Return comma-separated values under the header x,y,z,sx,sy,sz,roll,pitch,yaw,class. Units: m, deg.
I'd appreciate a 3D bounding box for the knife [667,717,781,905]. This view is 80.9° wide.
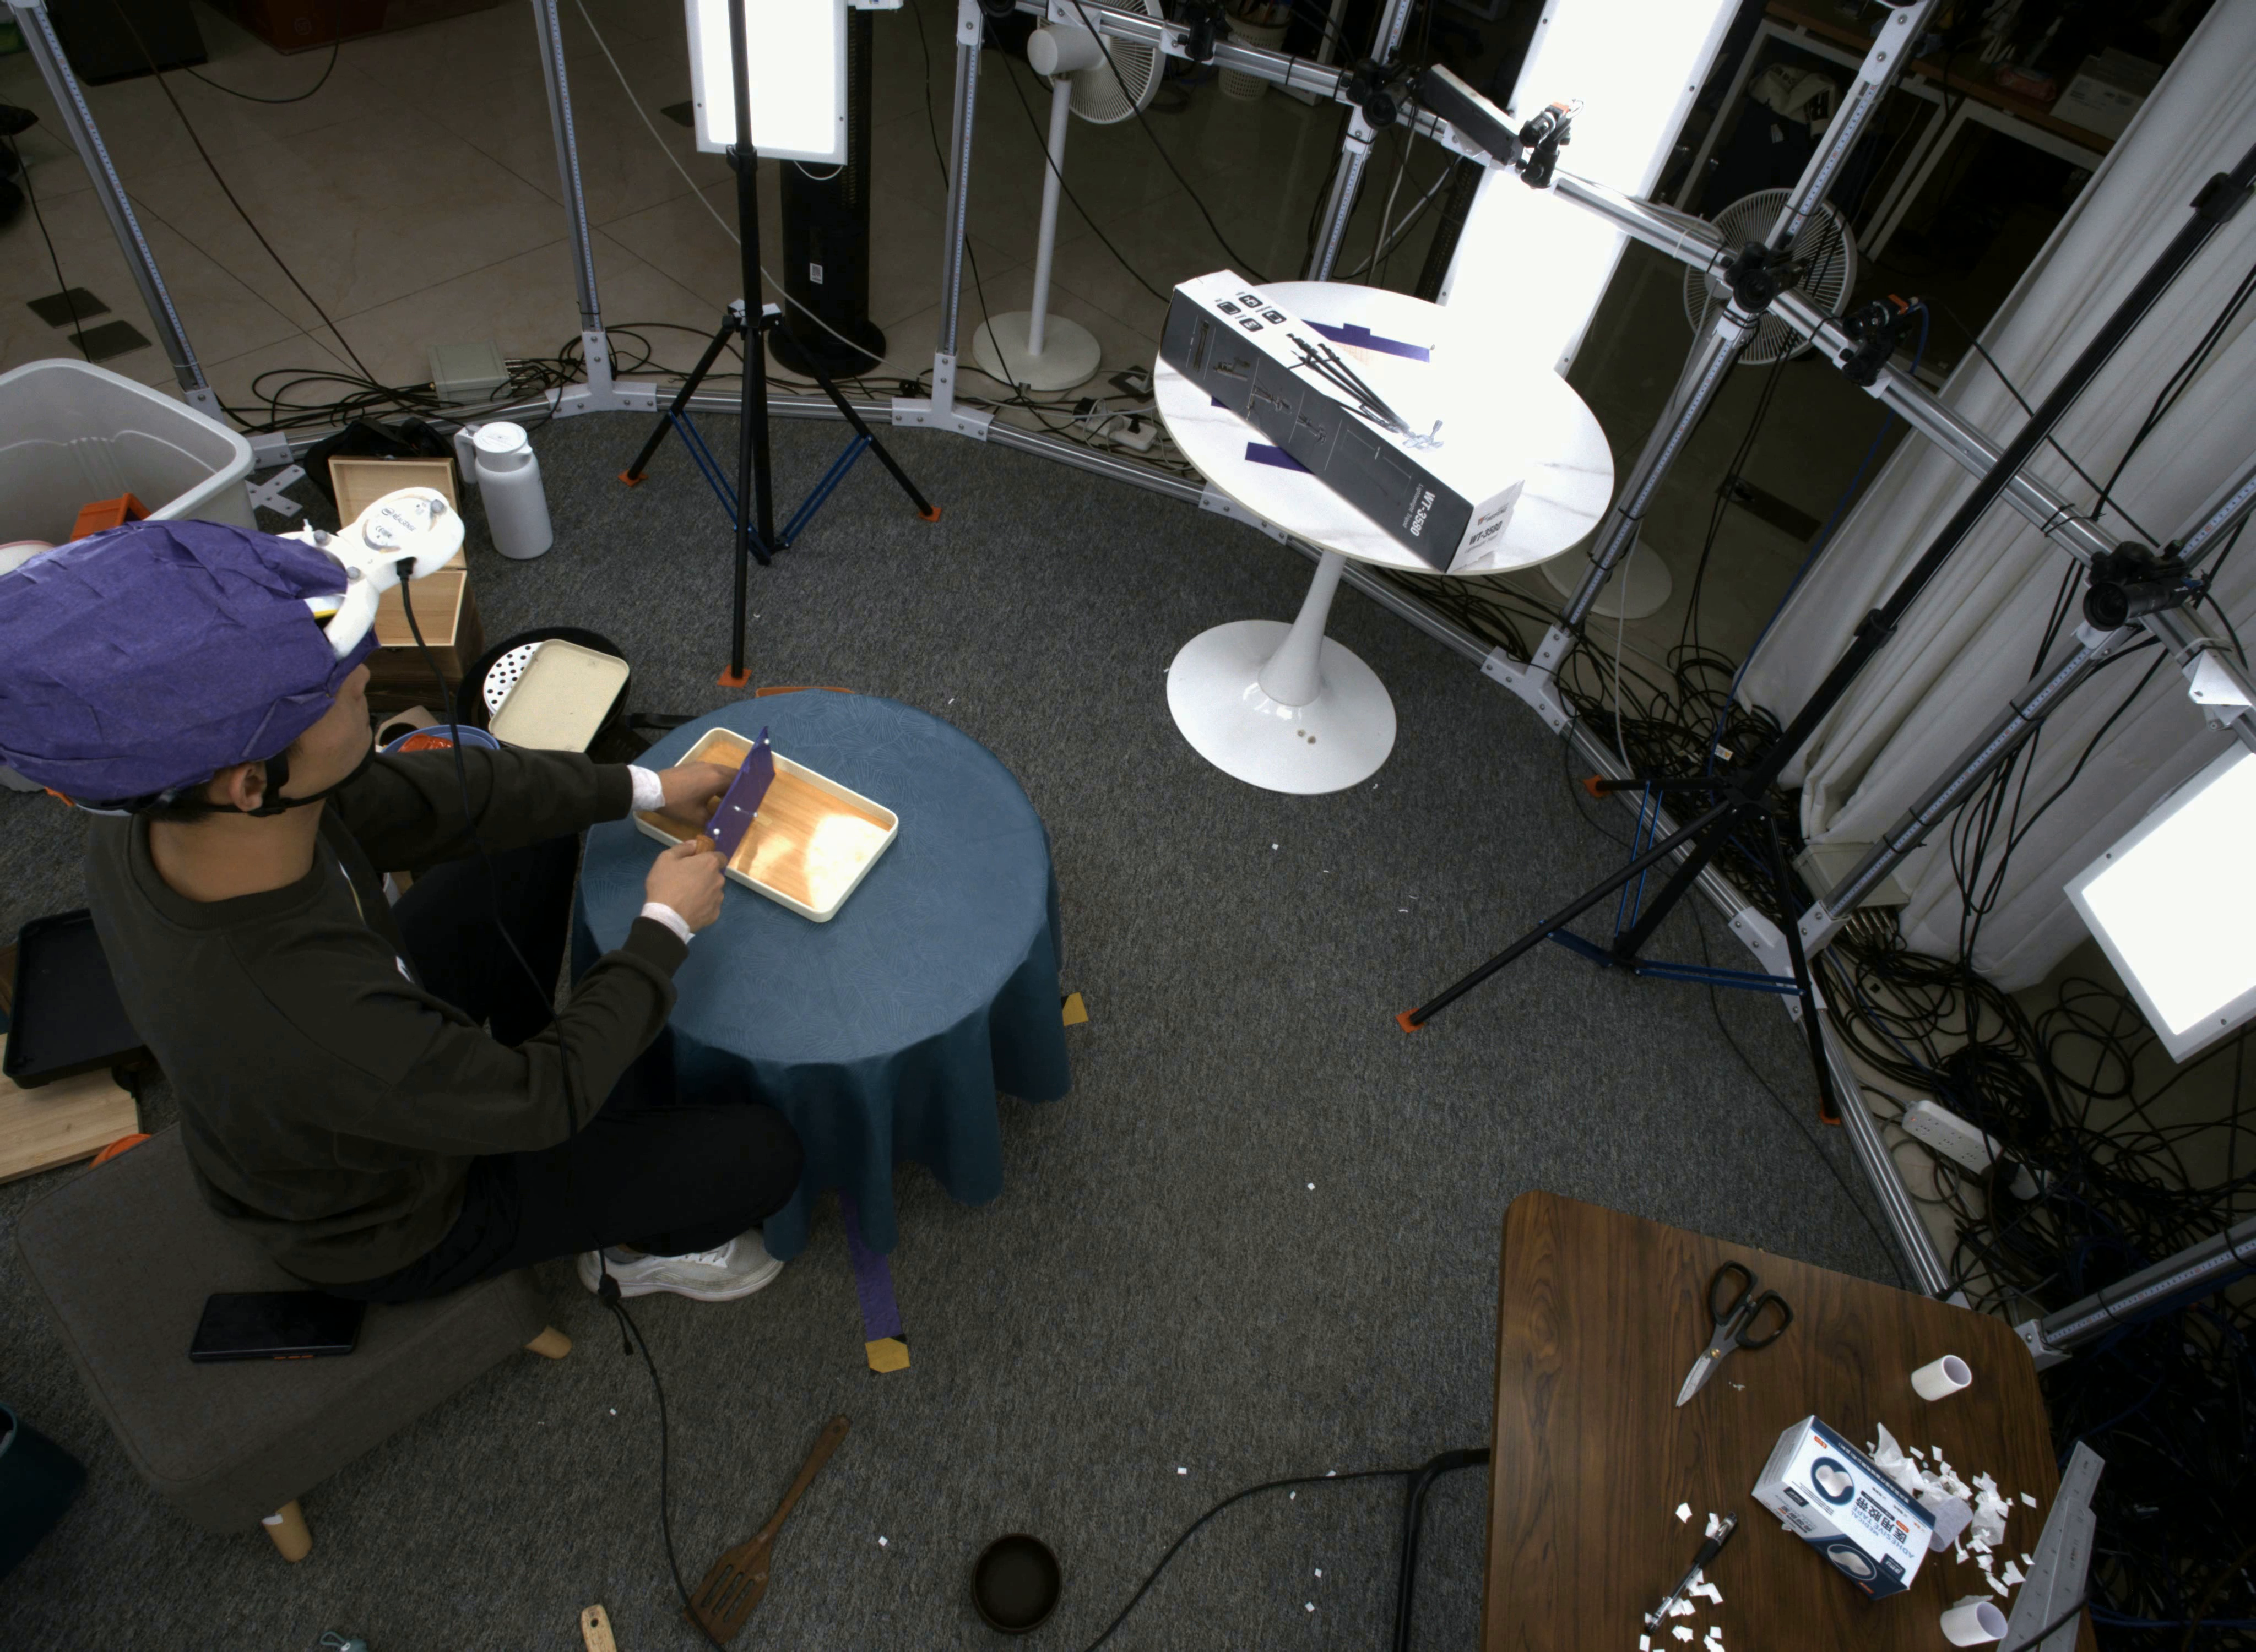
x,y,z,sx,sy,sz,roll,pitch,yaw,class
-0.496,-0.002,1.623,0.031,0.107,0.310,7,44,7,knife

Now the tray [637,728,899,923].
x,y,z,sx,sy,sz,roll,pitch,yaw,class
-0.474,-0.006,1.708,0.296,0.028,0.190,26,52,5,tray
